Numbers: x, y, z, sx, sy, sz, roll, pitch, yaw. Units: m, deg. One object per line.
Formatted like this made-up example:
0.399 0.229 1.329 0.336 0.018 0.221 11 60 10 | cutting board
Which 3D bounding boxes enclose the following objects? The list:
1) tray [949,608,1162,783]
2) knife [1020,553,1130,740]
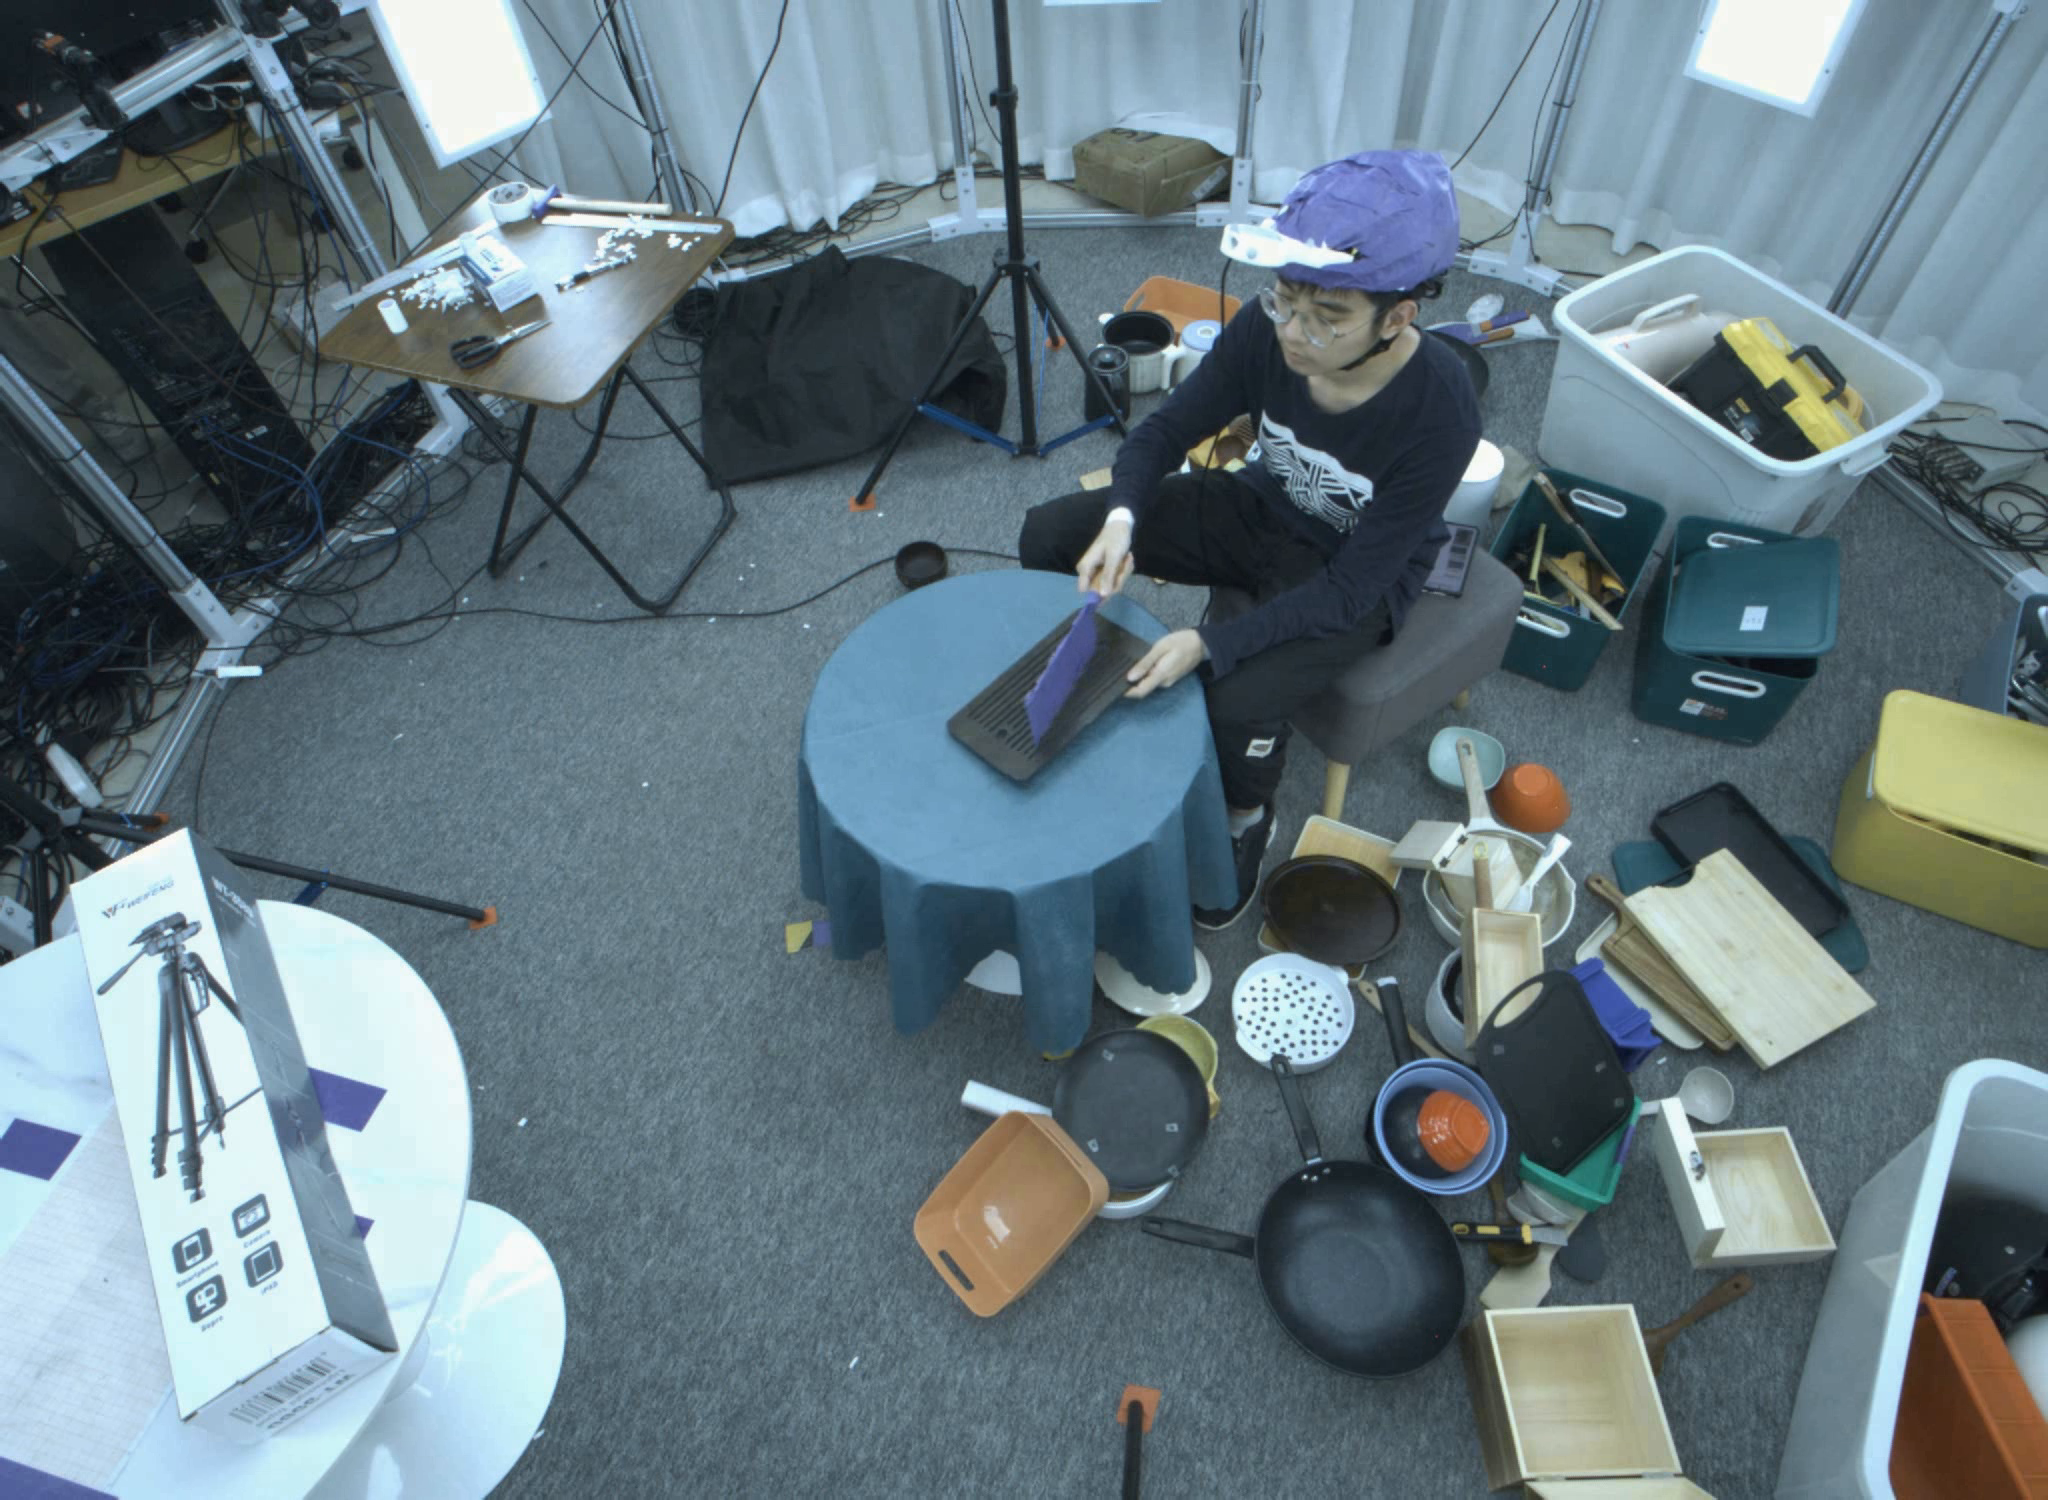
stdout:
0.048 -0.085 1.825 0.167 0.019 0.308 35 65 29 | tray
0.075 -0.152 1.793 0.031 0.105 0.316 21 60 23 | knife
